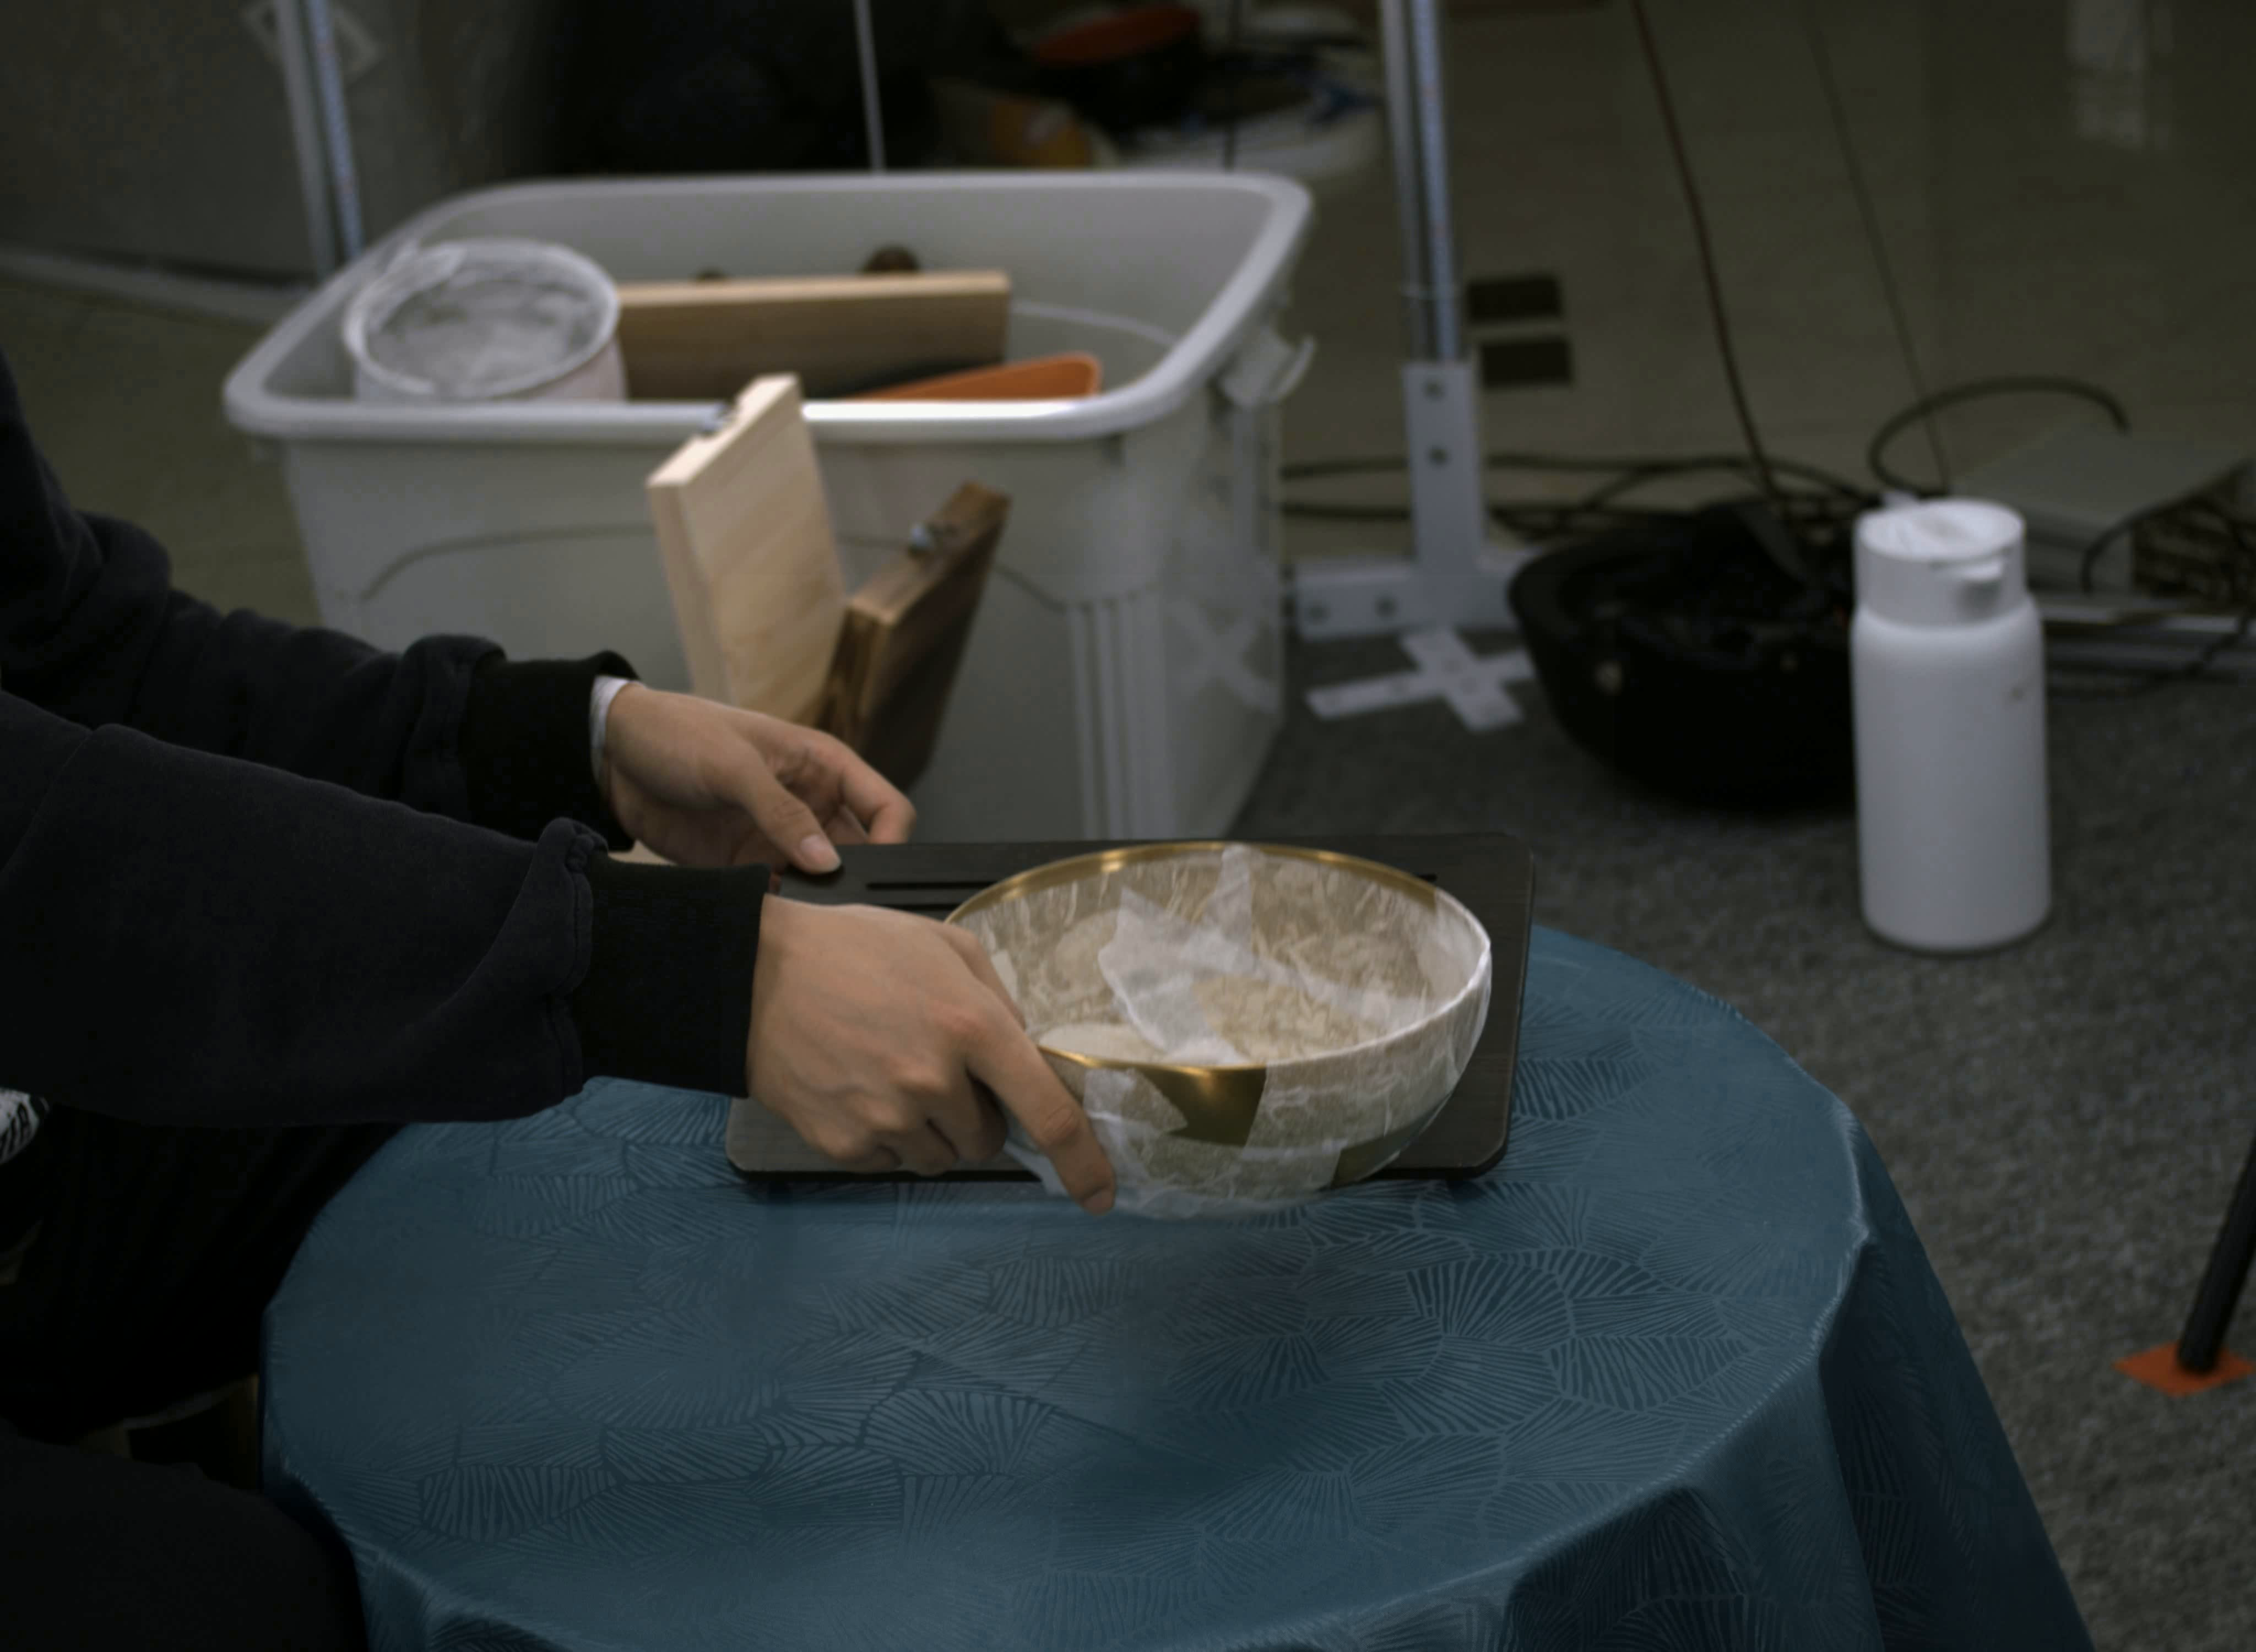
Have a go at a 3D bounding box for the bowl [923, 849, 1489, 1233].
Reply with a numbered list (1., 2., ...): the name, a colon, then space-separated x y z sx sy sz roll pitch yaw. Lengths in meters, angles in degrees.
1. bowl: 0.026 0.087 2.044 0.214 0.096 0.211 -1 24 0

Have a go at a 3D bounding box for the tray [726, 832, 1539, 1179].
1. tray: 0.003 0.072 2.205 0.305 0.019 0.167 -1 48 12
